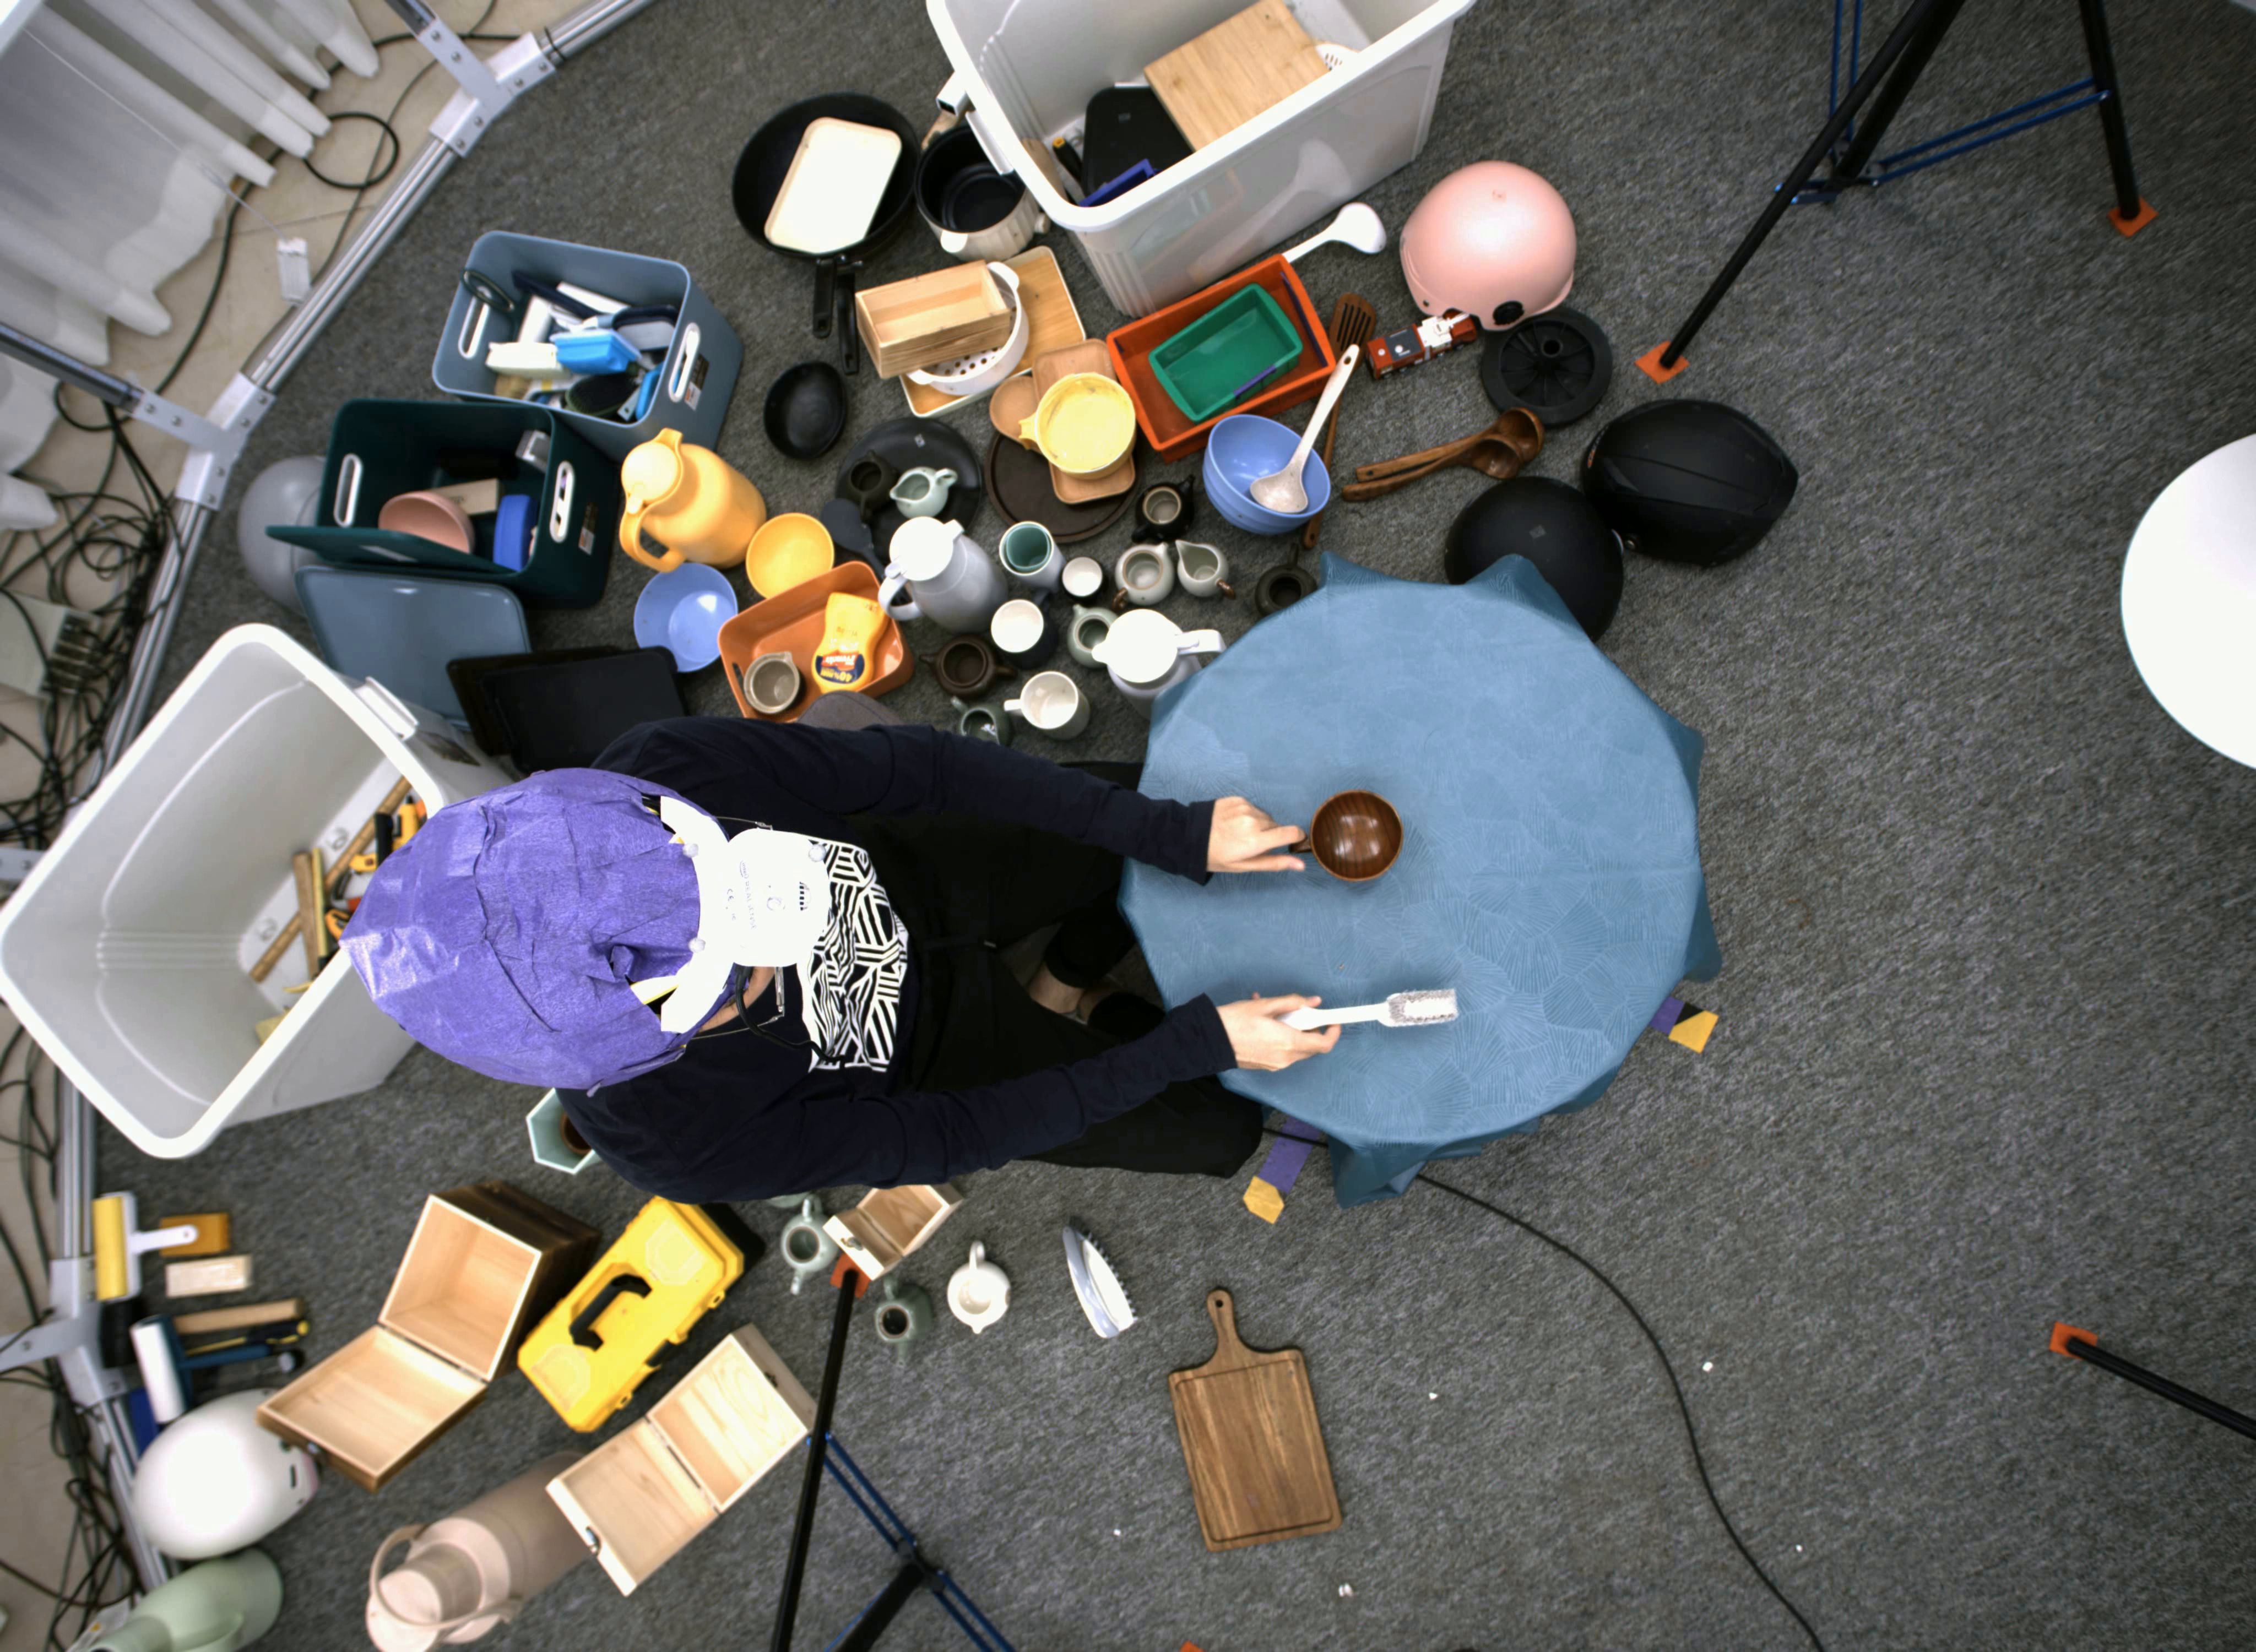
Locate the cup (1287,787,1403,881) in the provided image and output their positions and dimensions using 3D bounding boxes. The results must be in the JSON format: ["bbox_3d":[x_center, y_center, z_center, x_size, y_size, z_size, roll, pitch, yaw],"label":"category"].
[{"bbox_3d":[0.224,0.012,1.434,0.120,0.068,0.096,-12,86,7],"label":"cup"}]

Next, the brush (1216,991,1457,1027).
[{"bbox_3d":[0.211,0.188,1.409,0.244,0.050,0.034,-3,86,4],"label":"brush"}]
